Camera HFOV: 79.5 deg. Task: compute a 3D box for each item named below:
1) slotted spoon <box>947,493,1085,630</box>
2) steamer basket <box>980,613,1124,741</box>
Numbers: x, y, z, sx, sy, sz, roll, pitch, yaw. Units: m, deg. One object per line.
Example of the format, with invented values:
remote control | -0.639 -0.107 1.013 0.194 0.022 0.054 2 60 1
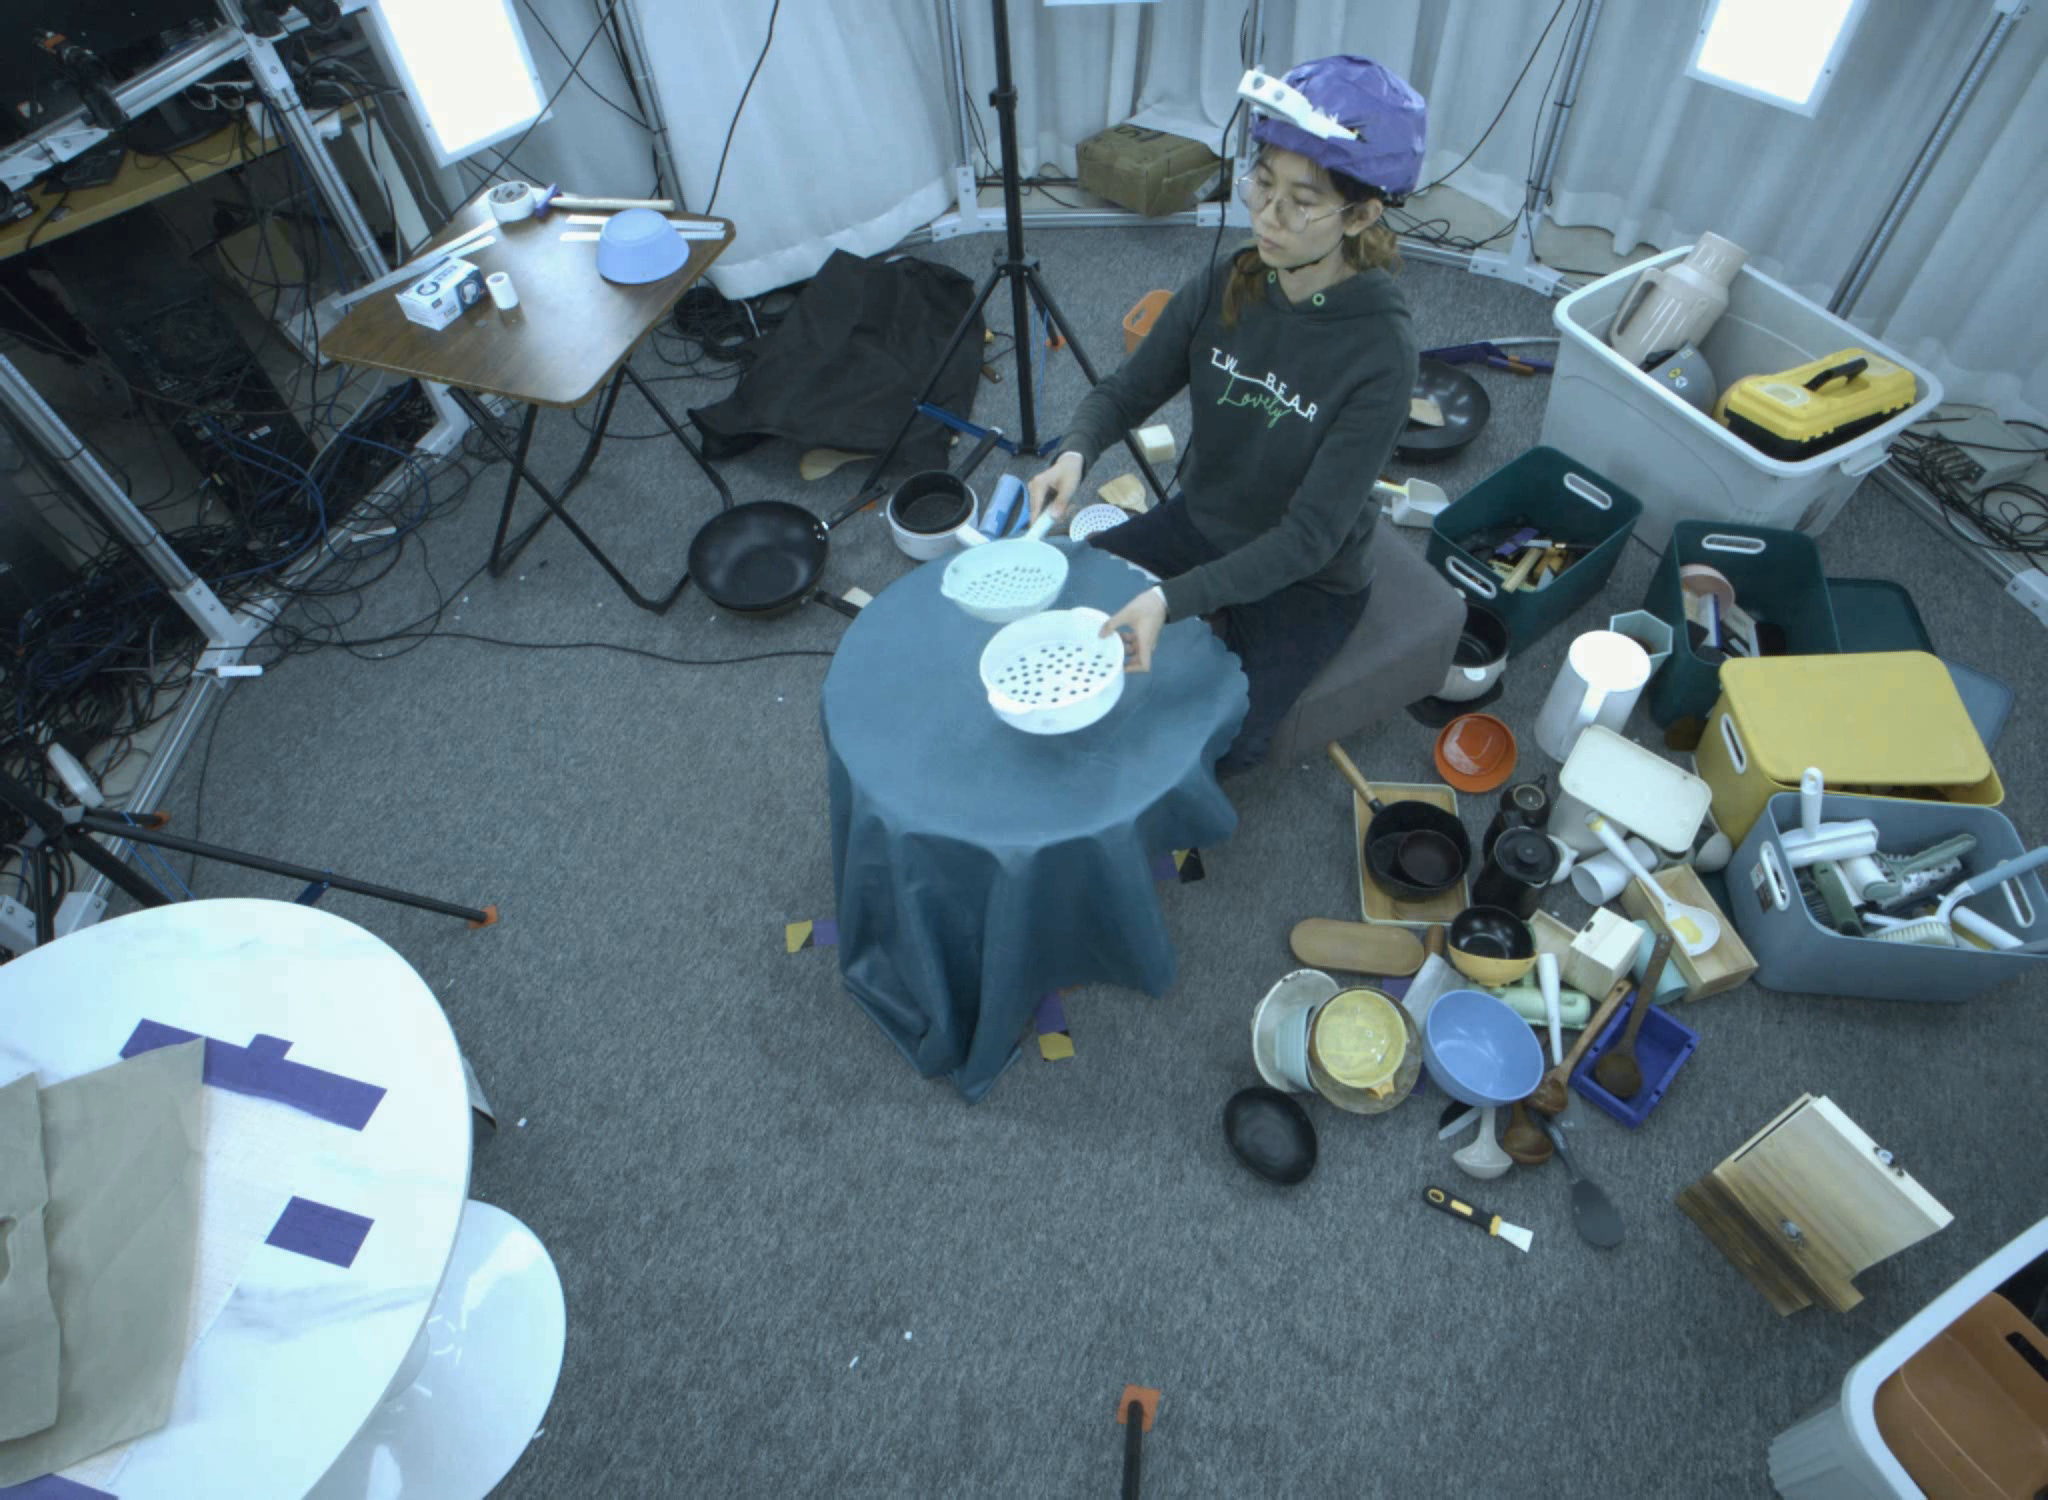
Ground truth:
slotted spoon | 0.019 -0.282 1.734 0.167 0.076 0.358 10 51 18
steamer basket | 0.042 -0.099 1.732 0.198 0.070 0.232 23 55 26
